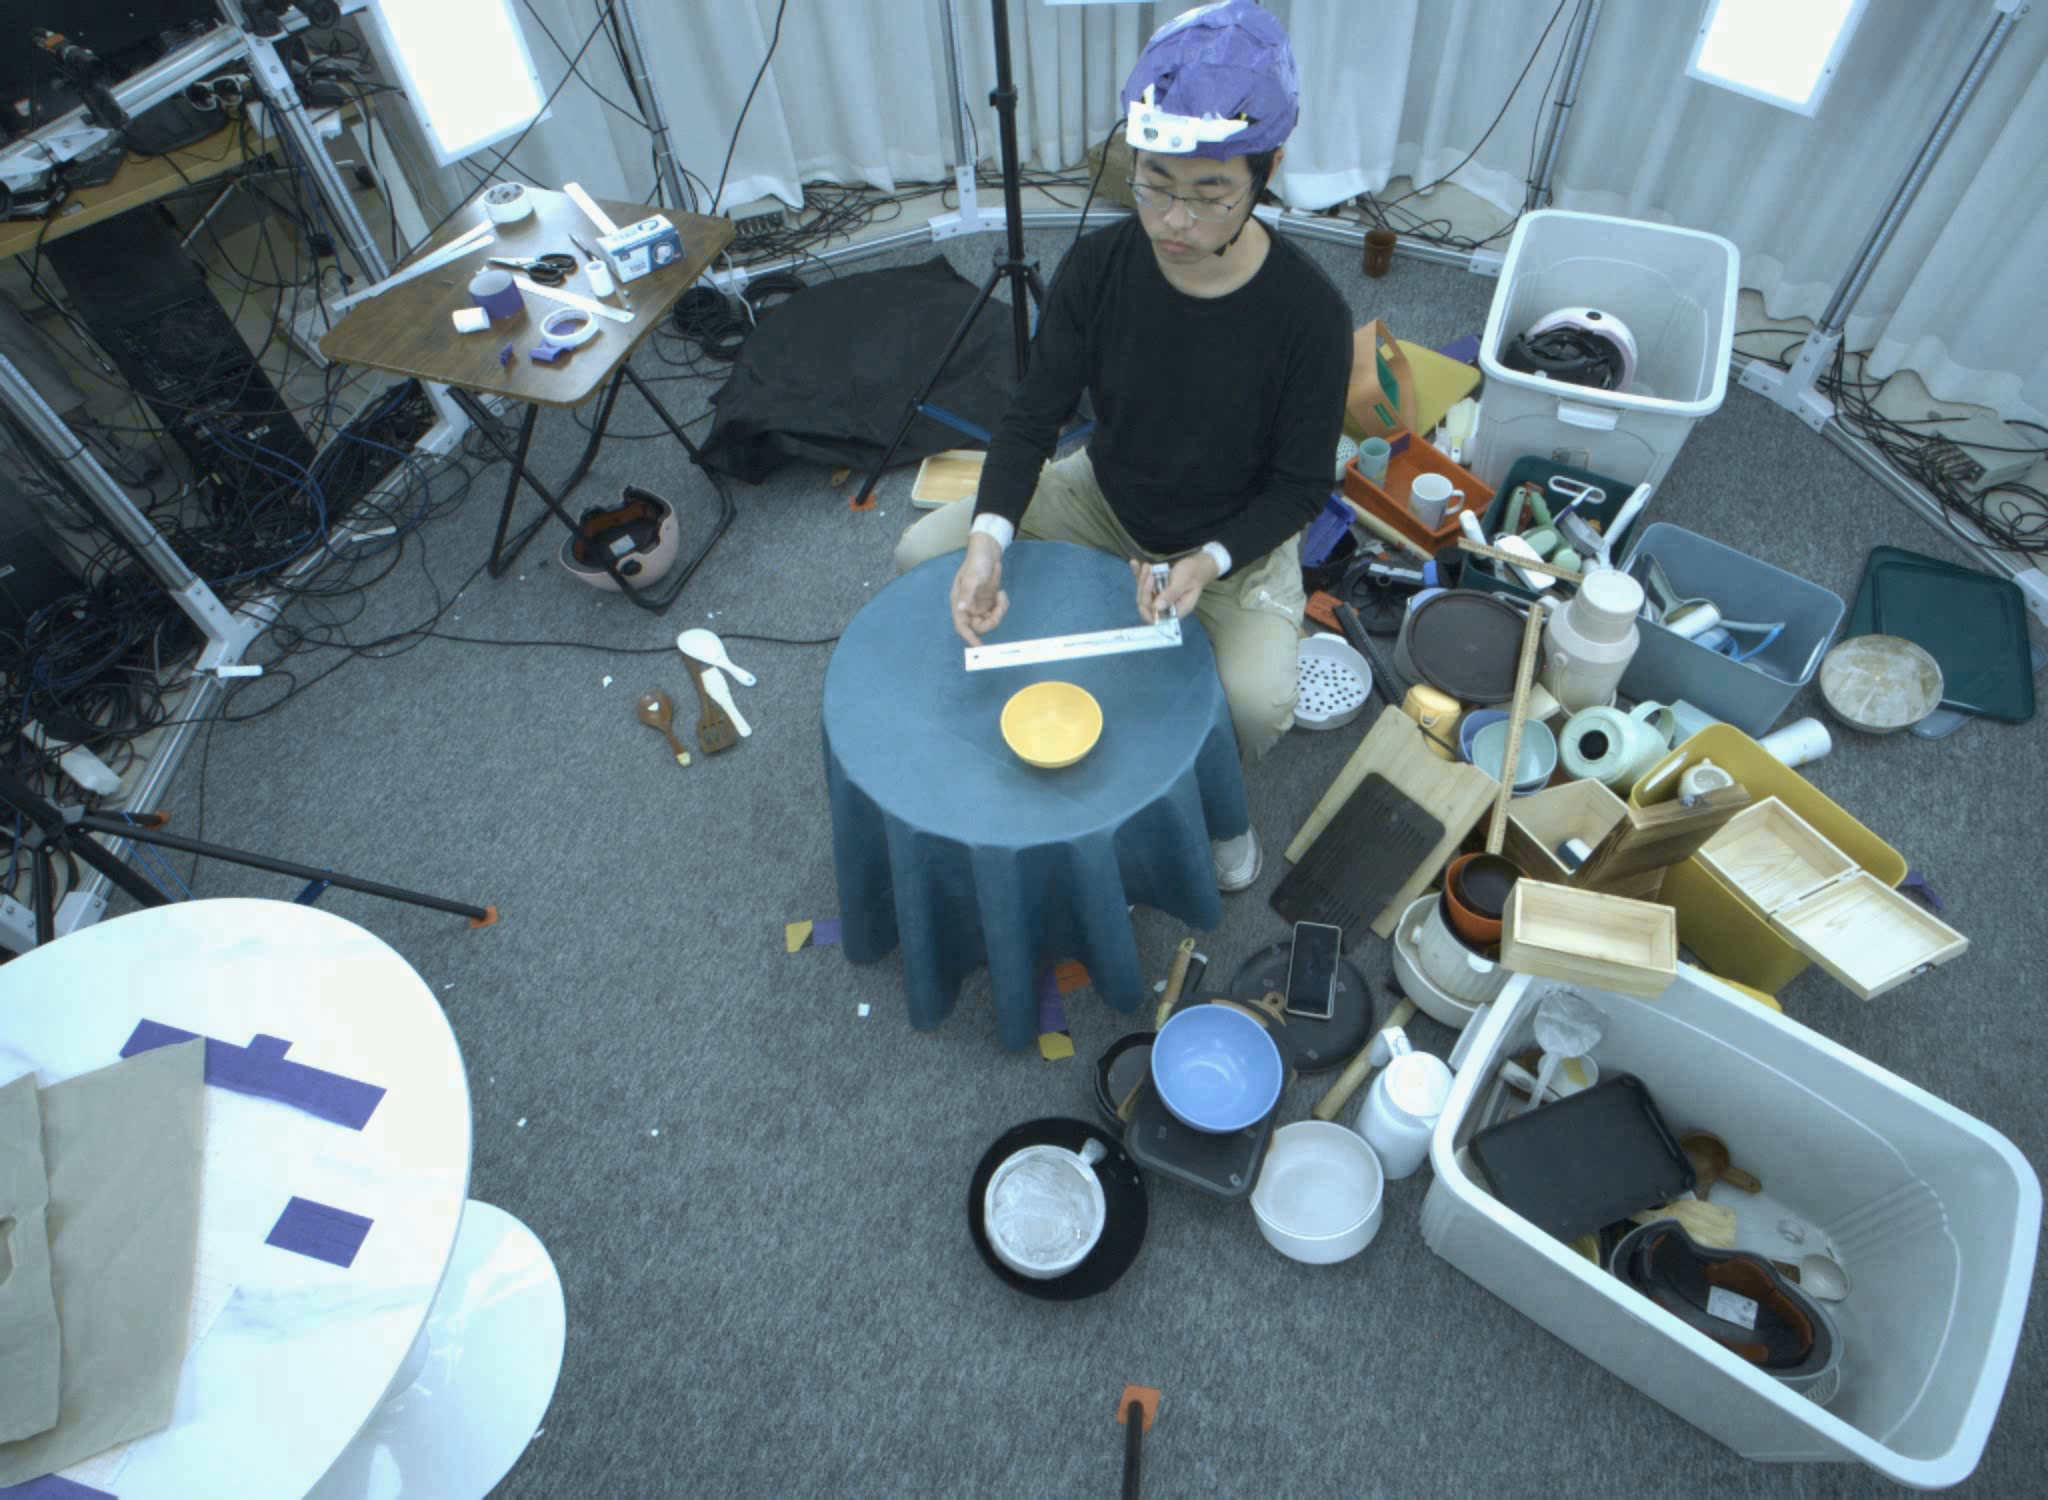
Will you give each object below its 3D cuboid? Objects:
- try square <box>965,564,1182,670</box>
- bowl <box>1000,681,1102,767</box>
[{"bbox_3d":[0.067,-0.195,1.790,0.312,0.016,0.150,-7,53,2],"label":"try square"},{"bbox_3d":[0.039,-0.026,1.771,0.145,0.060,0.144,1,55,0],"label":"bowl"}]
